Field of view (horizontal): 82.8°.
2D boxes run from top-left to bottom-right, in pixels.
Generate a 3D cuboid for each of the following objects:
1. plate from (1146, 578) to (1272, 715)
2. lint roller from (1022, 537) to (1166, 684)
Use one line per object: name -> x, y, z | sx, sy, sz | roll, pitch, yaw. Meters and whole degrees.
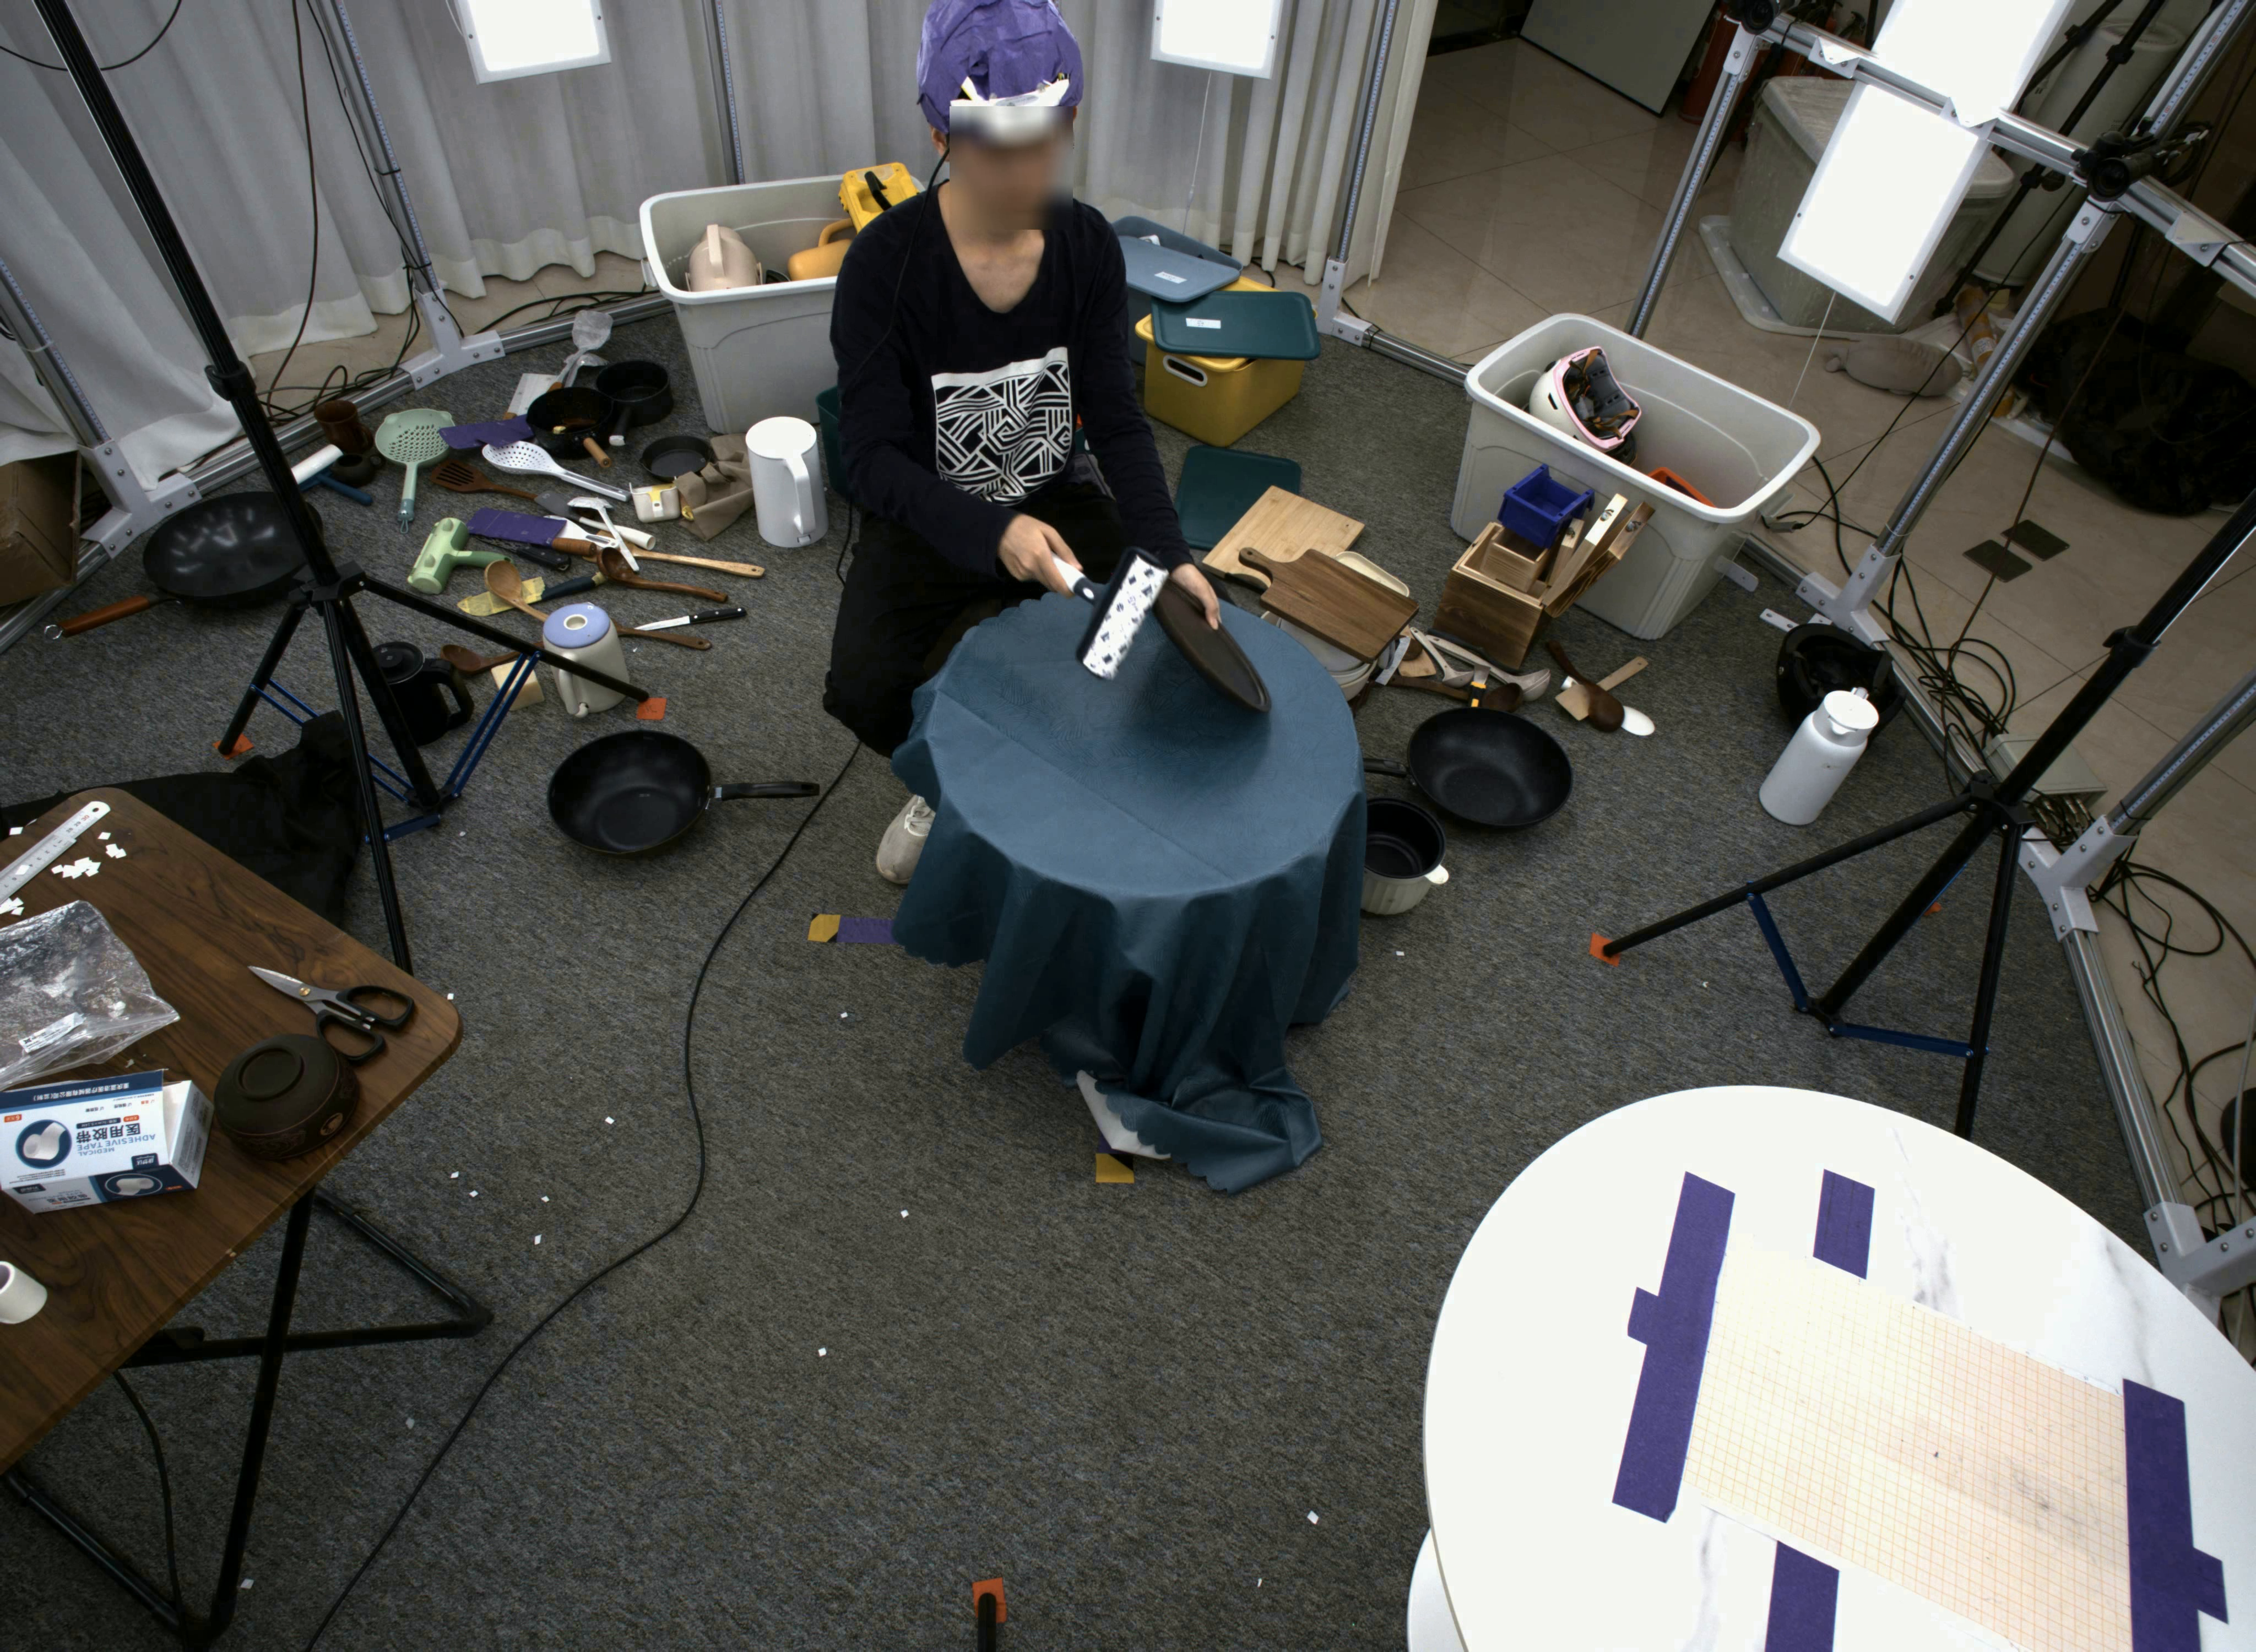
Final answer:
plate -> 0.107, -0.251, 1.776 | 0.029, 0.251, 0.261 | -42, 52, 19
lint roller -> -0.070, -0.326, 1.739 | 0.251, 0.174, 0.050 | 40, 23, 32
